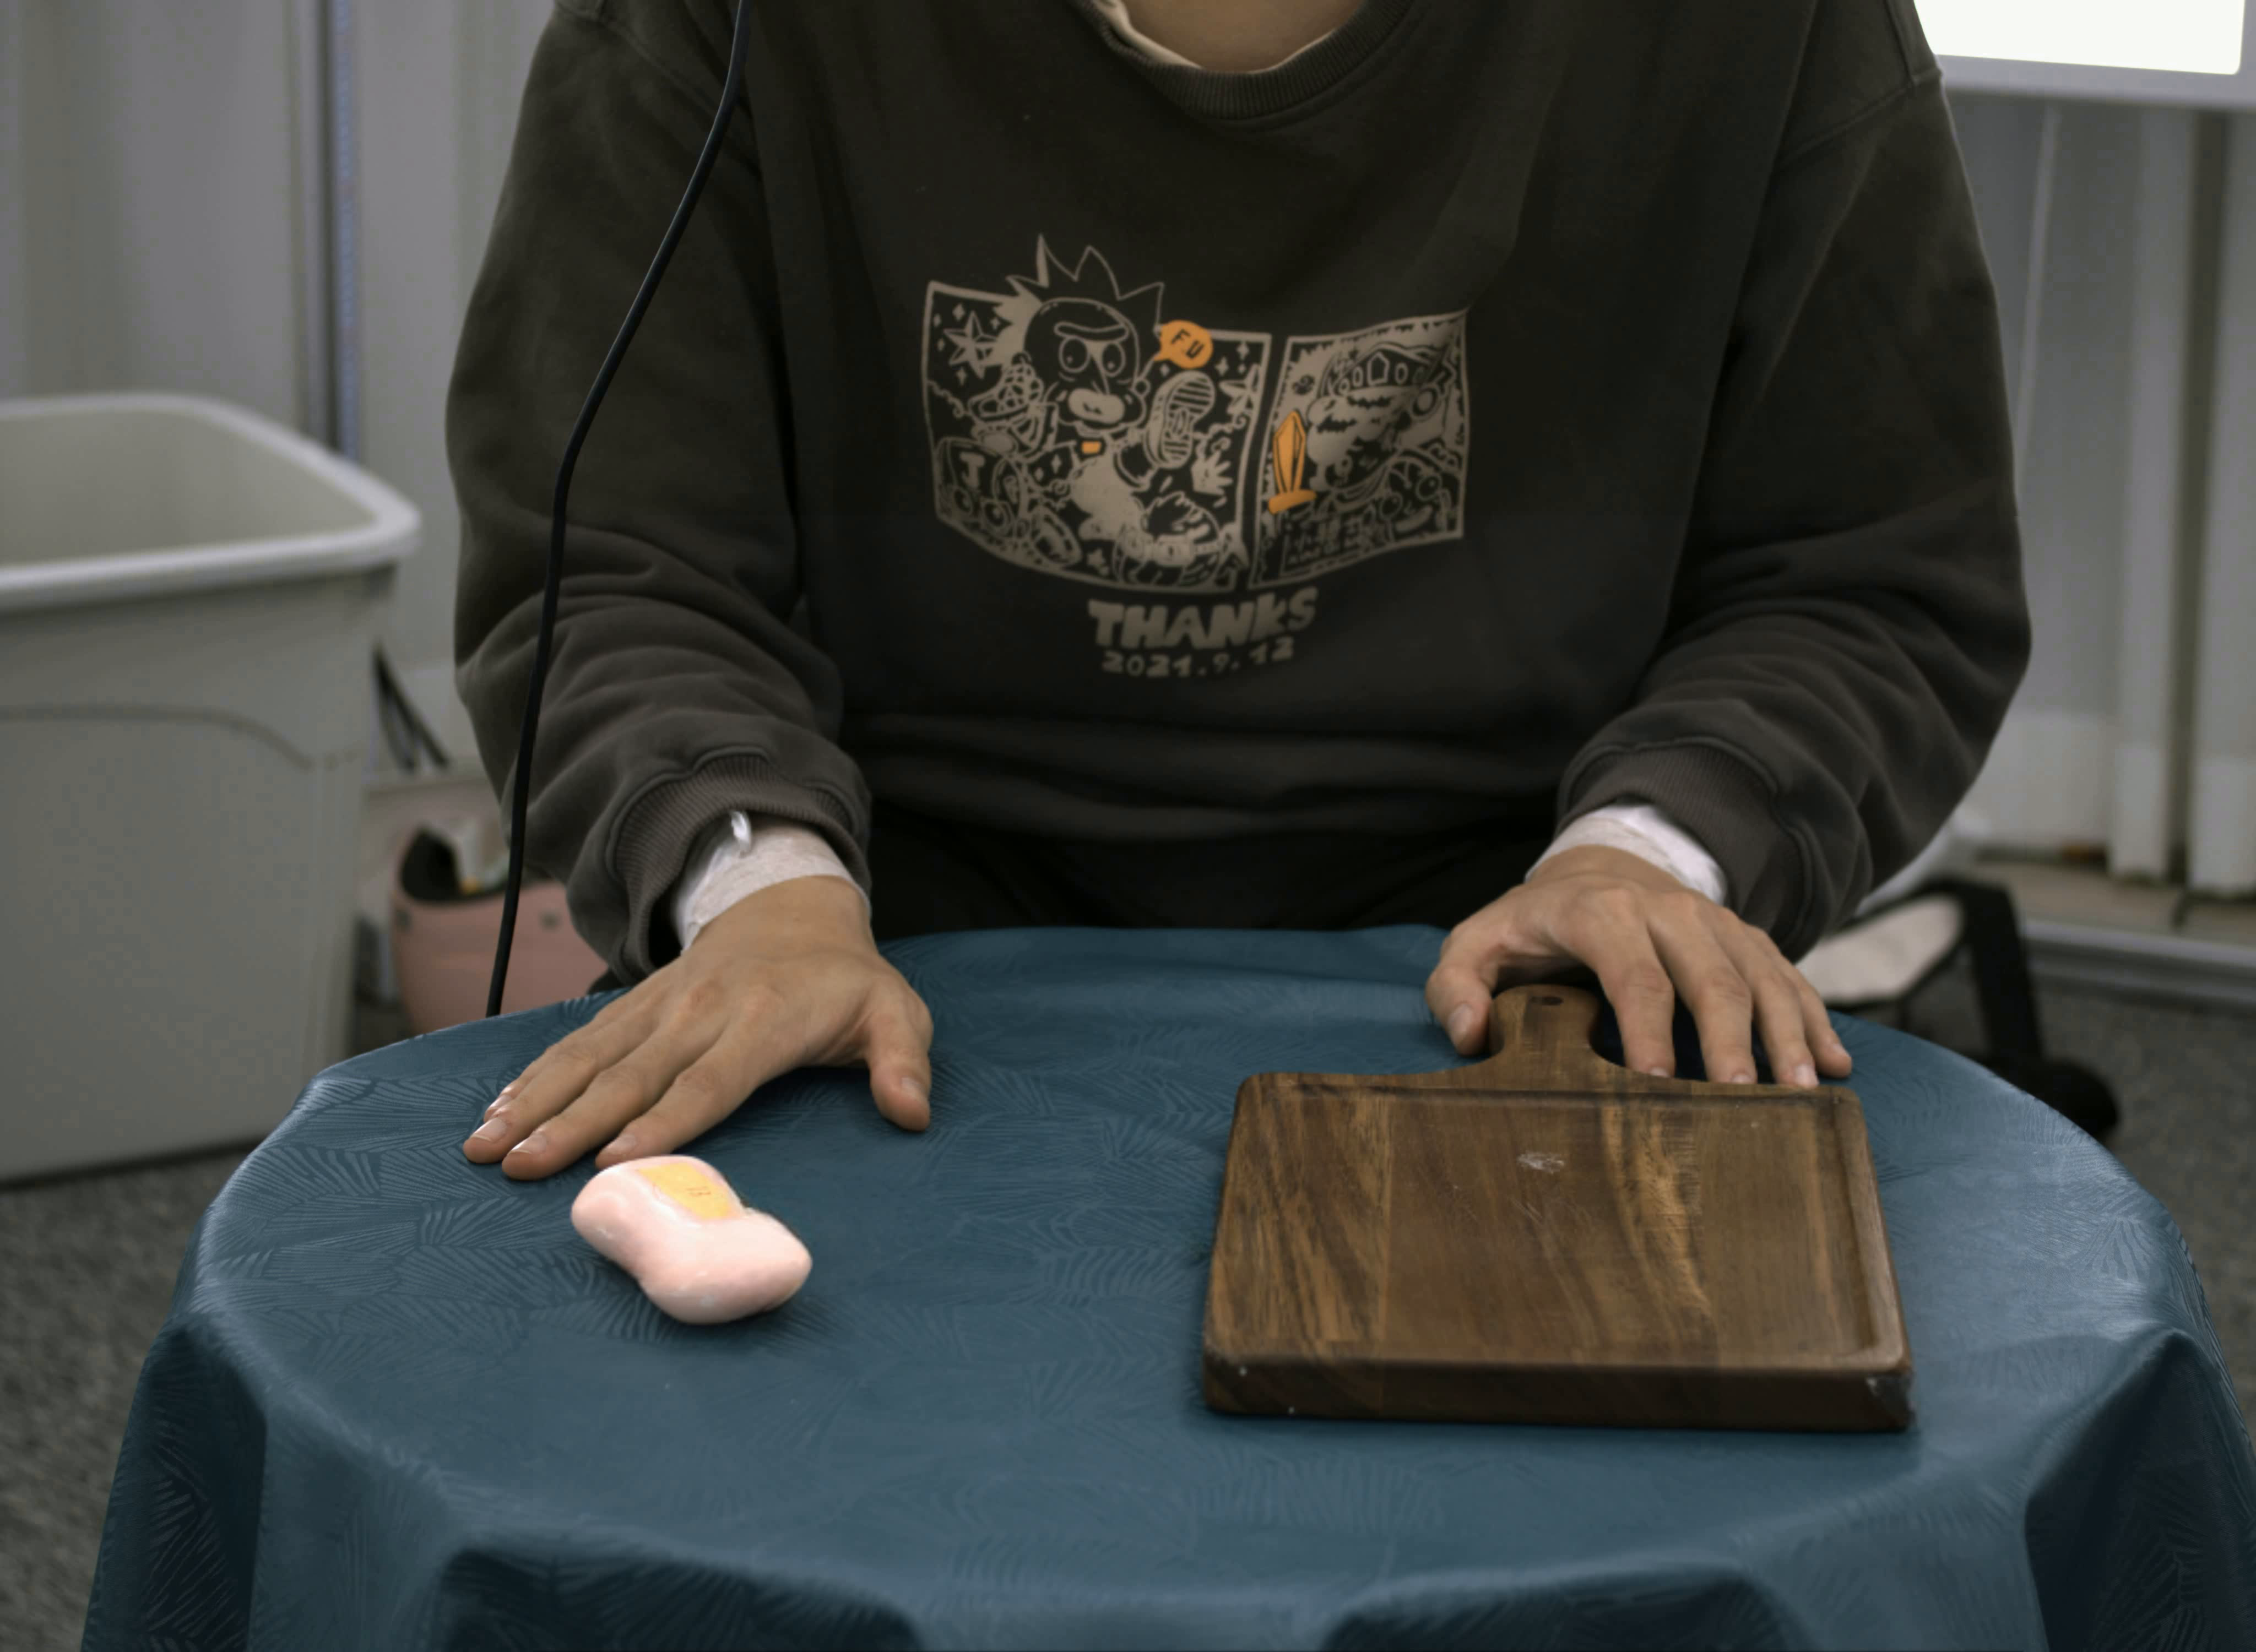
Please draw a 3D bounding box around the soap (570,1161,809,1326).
[{"bbox_3d":[-0.129,0.122,1.541,0.050,0.030,0.093,-6,15,-24],"label":"soap"}]

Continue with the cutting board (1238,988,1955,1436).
[{"bbox_3d":[0.140,0.110,1.605,0.200,0.023,0.351,2,15,4],"label":"cutting board"}]
